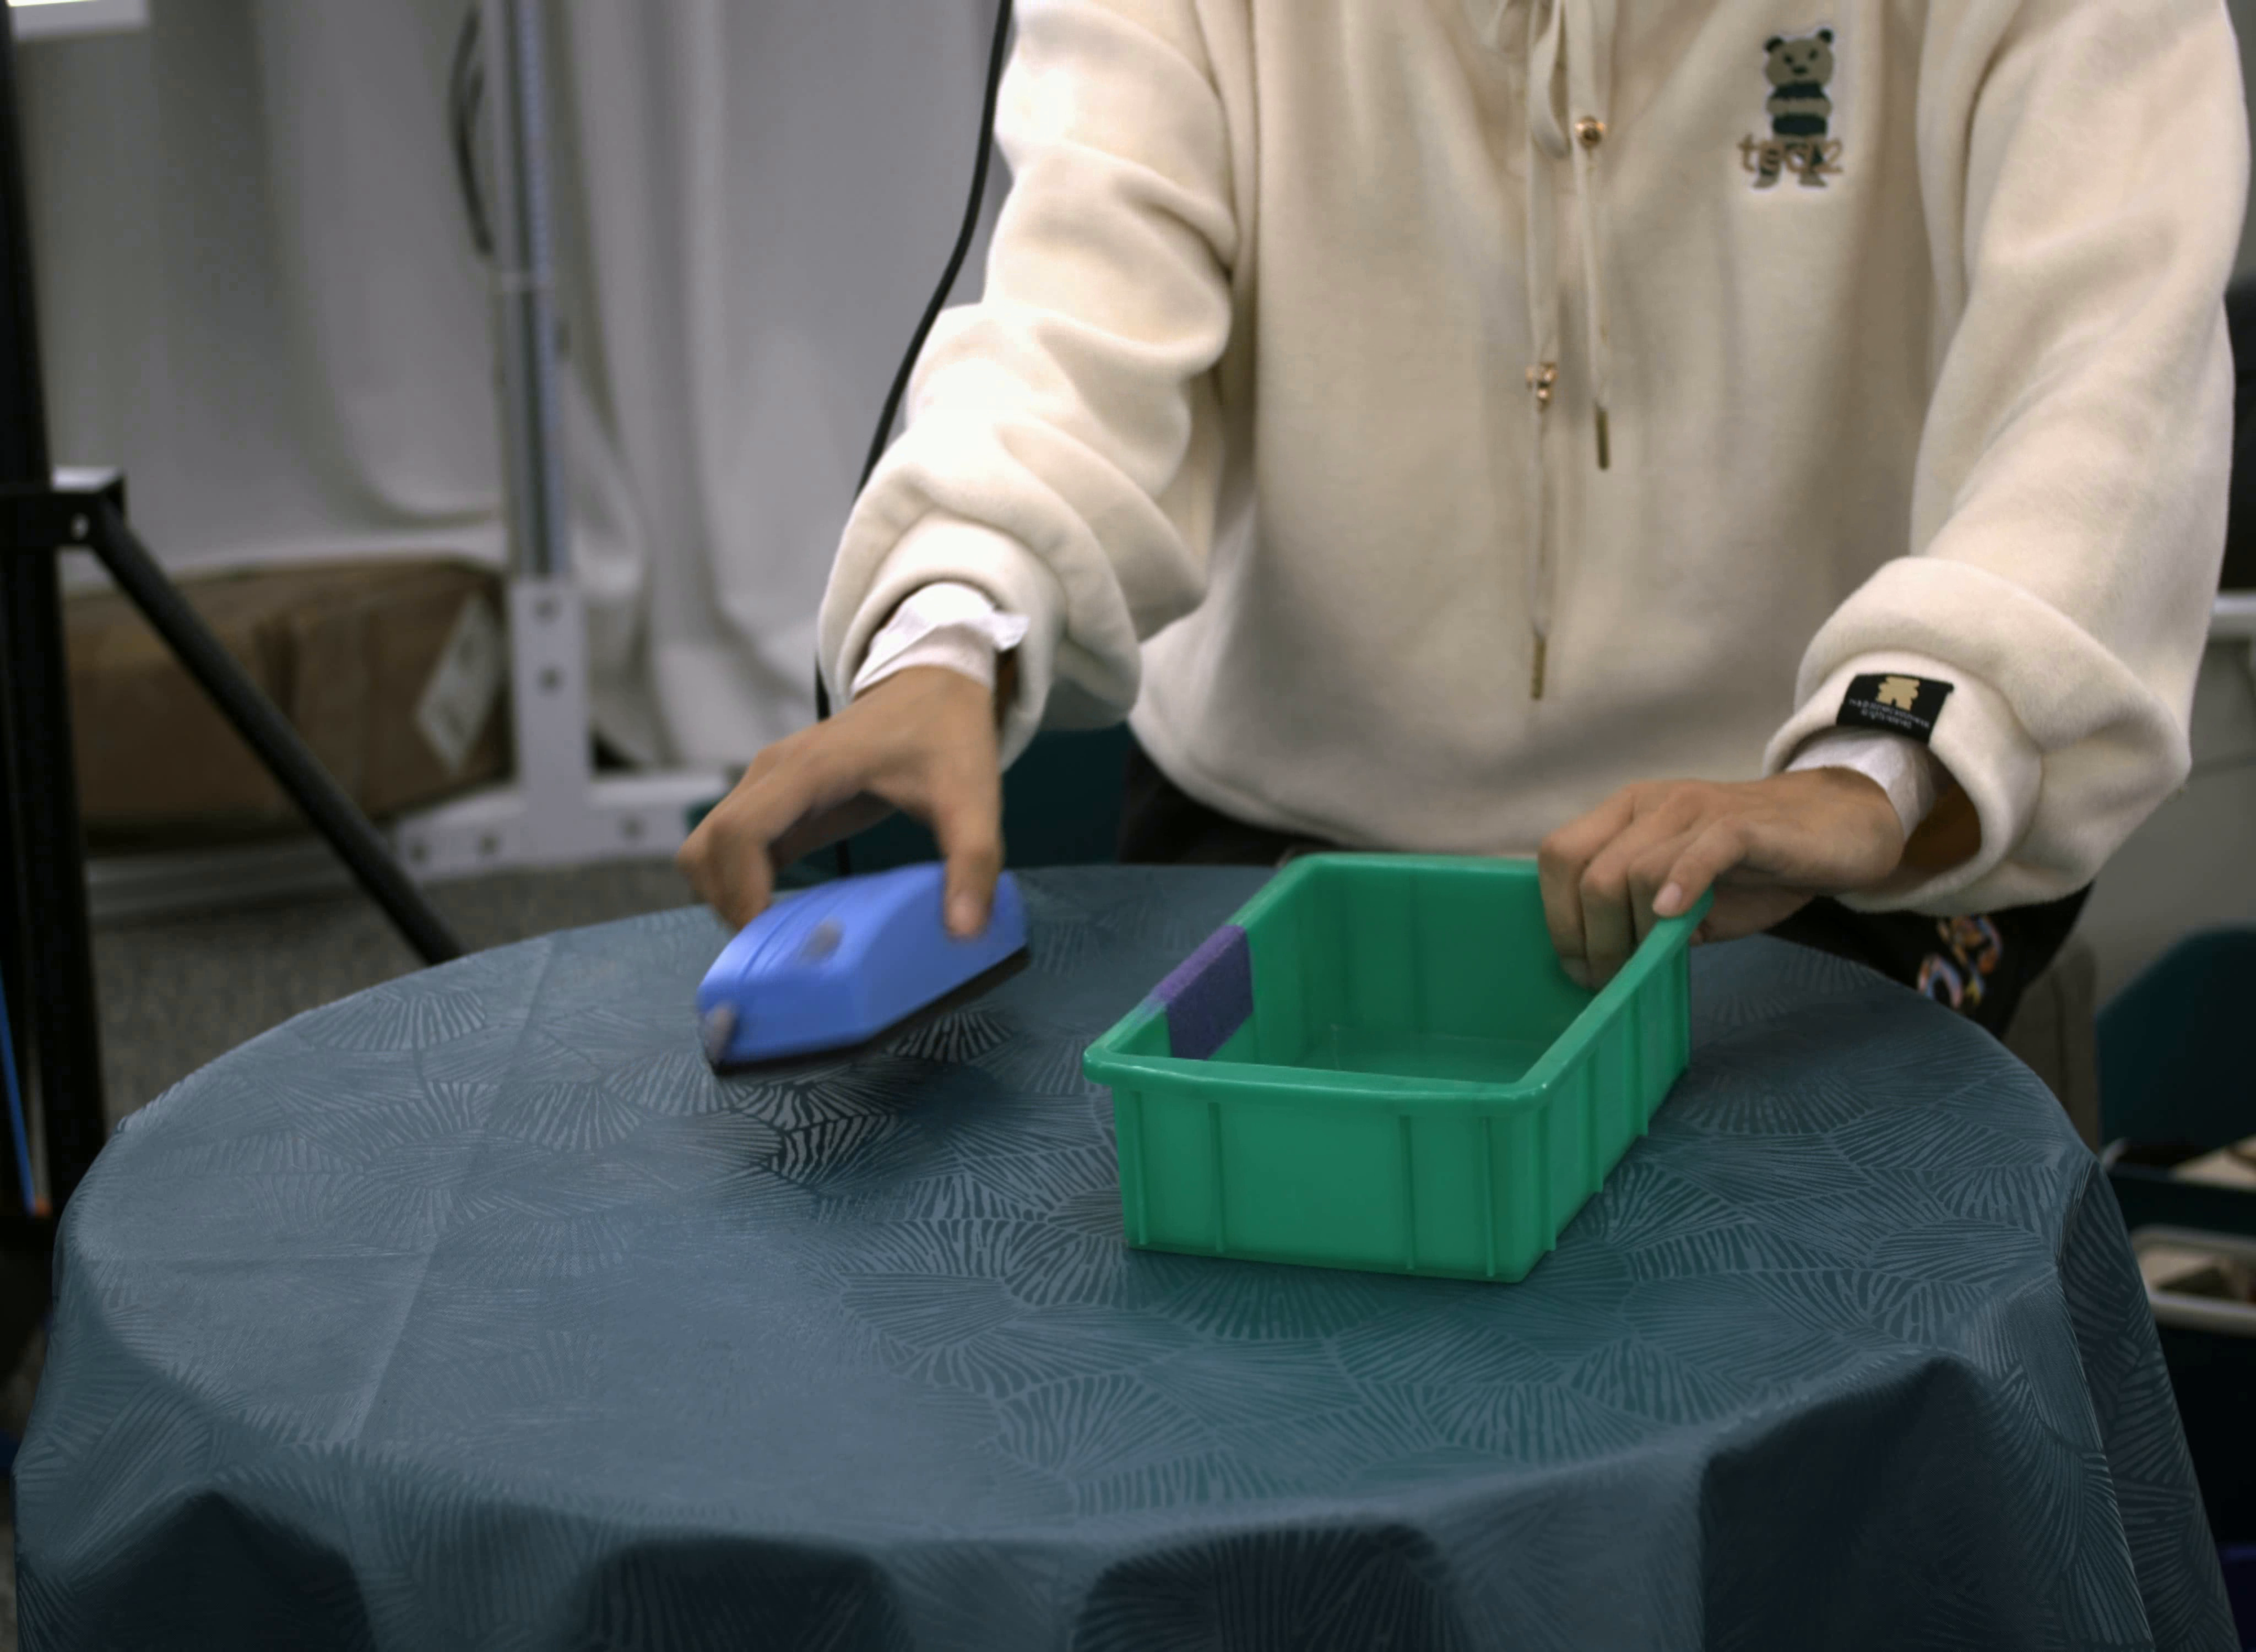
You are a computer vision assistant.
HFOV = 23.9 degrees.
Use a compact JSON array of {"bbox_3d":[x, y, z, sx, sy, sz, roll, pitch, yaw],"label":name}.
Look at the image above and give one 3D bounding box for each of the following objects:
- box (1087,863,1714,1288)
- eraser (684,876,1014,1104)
[{"bbox_3d":[0.085,0.072,1.554,0.140,0.065,0.208,1,18,21],"label":"box"},{"bbox_3d":[-0.086,0.045,1.650,0.054,0.047,0.160,-9,8,20],"label":"eraser"}]
